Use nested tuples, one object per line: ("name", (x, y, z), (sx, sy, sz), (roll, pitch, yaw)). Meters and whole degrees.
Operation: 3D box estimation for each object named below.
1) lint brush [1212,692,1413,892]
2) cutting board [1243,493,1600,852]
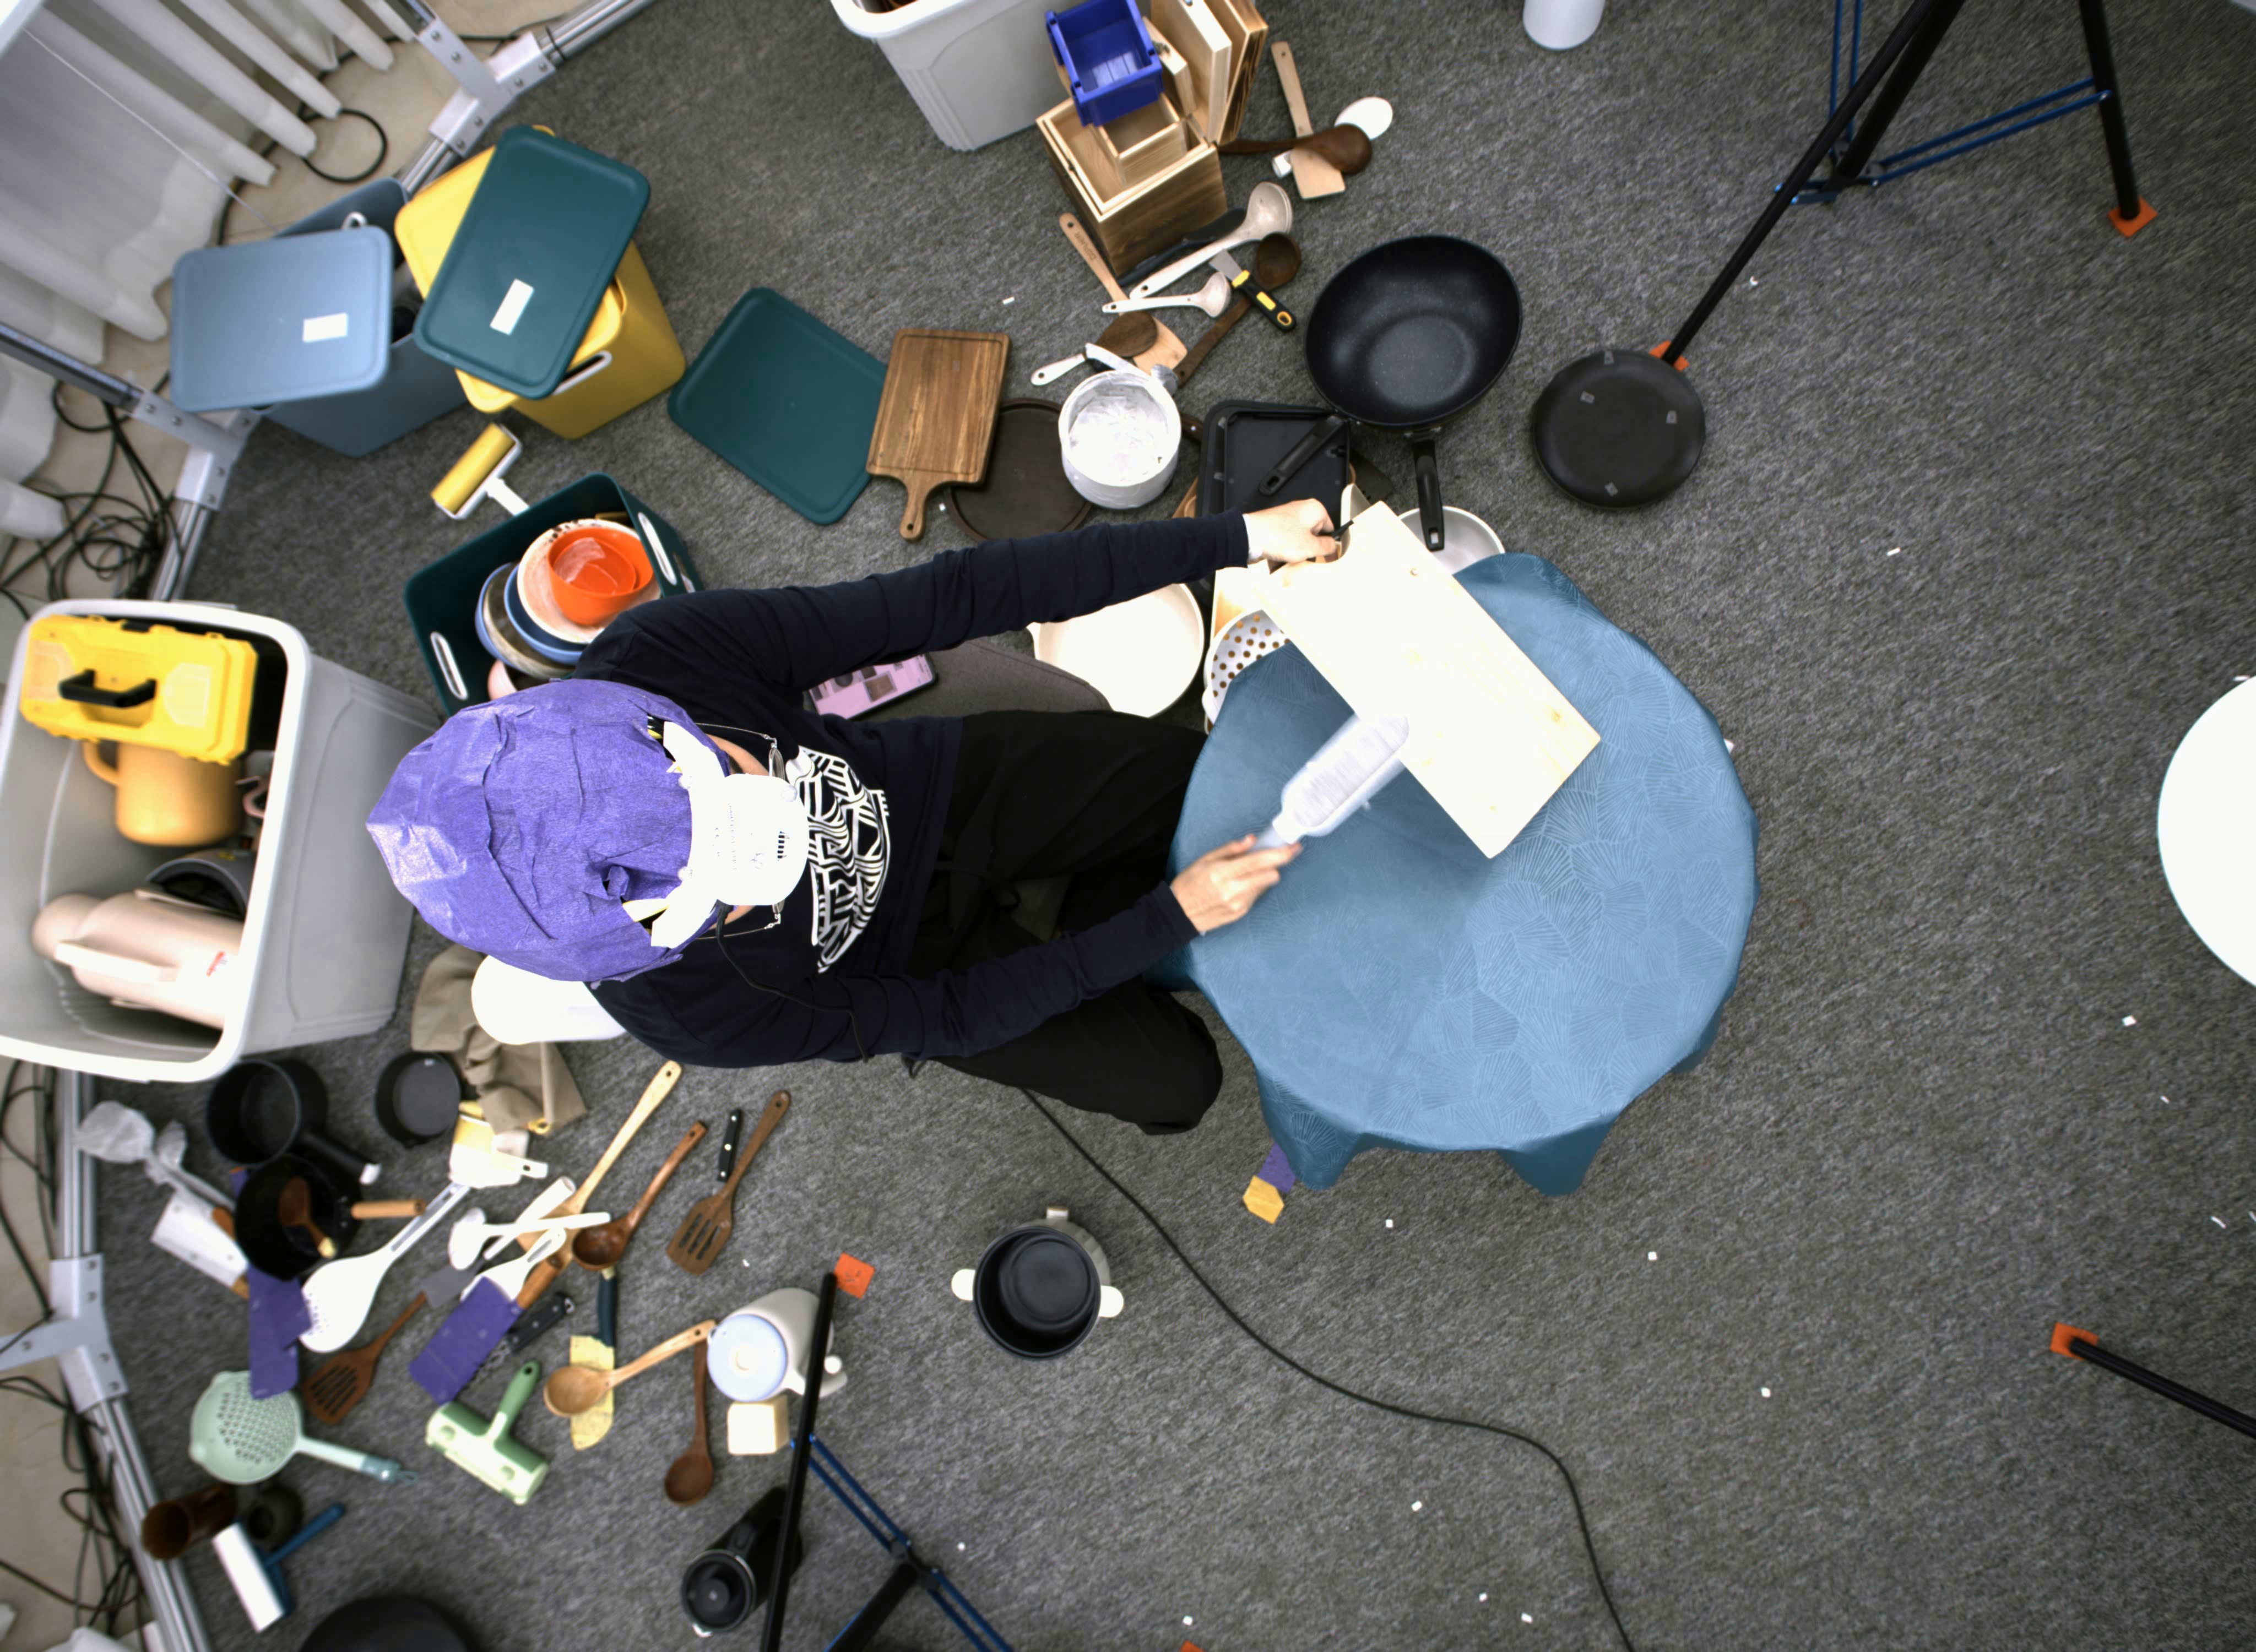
("lint brush", (0.171, -0.027, 1.353), (0.060, 0.020, 0.316), (42, 132, 1))
("cutting board", (0.299, -0.162, 1.360), (0.348, 0.024, 0.245), (48, 52, 2))
